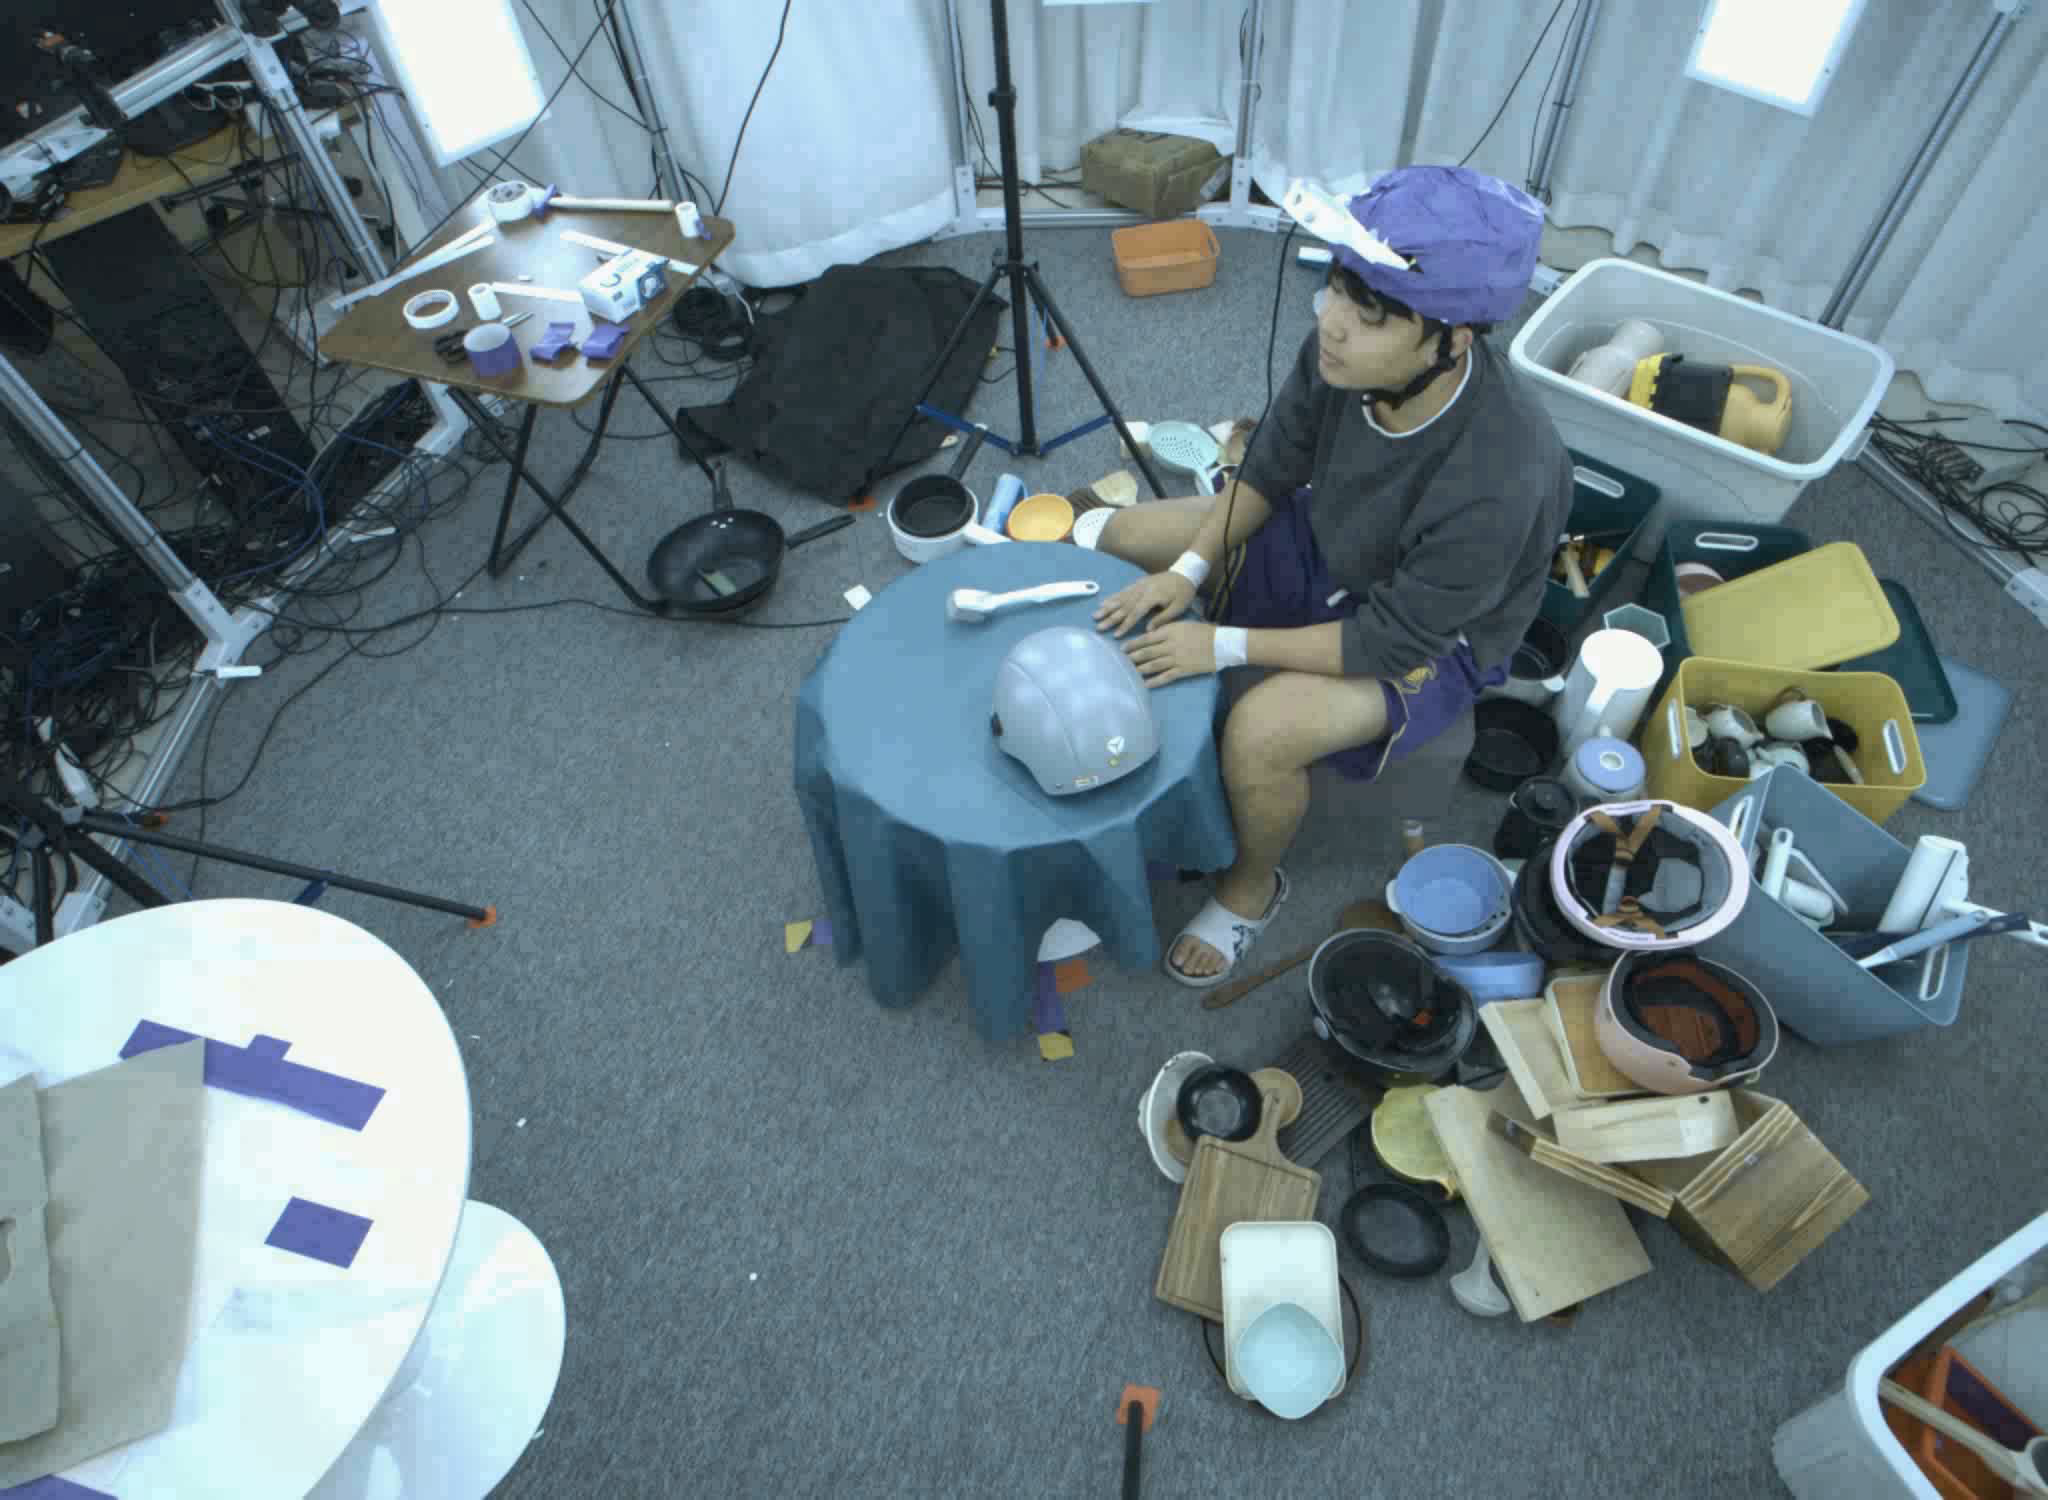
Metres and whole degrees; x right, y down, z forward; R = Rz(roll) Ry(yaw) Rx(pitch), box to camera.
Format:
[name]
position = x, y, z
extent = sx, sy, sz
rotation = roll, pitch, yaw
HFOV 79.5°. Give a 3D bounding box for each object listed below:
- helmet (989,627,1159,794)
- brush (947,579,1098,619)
[helmet]
position = 0.065, -0.081, 1.745
extent = 0.234, 0.171, 0.271
rotation = -27, 55, -16
[brush]
position = -0.002, -0.239, 1.946
extent = 0.247, 0.050, 0.034
rotation = -7, 57, -19
